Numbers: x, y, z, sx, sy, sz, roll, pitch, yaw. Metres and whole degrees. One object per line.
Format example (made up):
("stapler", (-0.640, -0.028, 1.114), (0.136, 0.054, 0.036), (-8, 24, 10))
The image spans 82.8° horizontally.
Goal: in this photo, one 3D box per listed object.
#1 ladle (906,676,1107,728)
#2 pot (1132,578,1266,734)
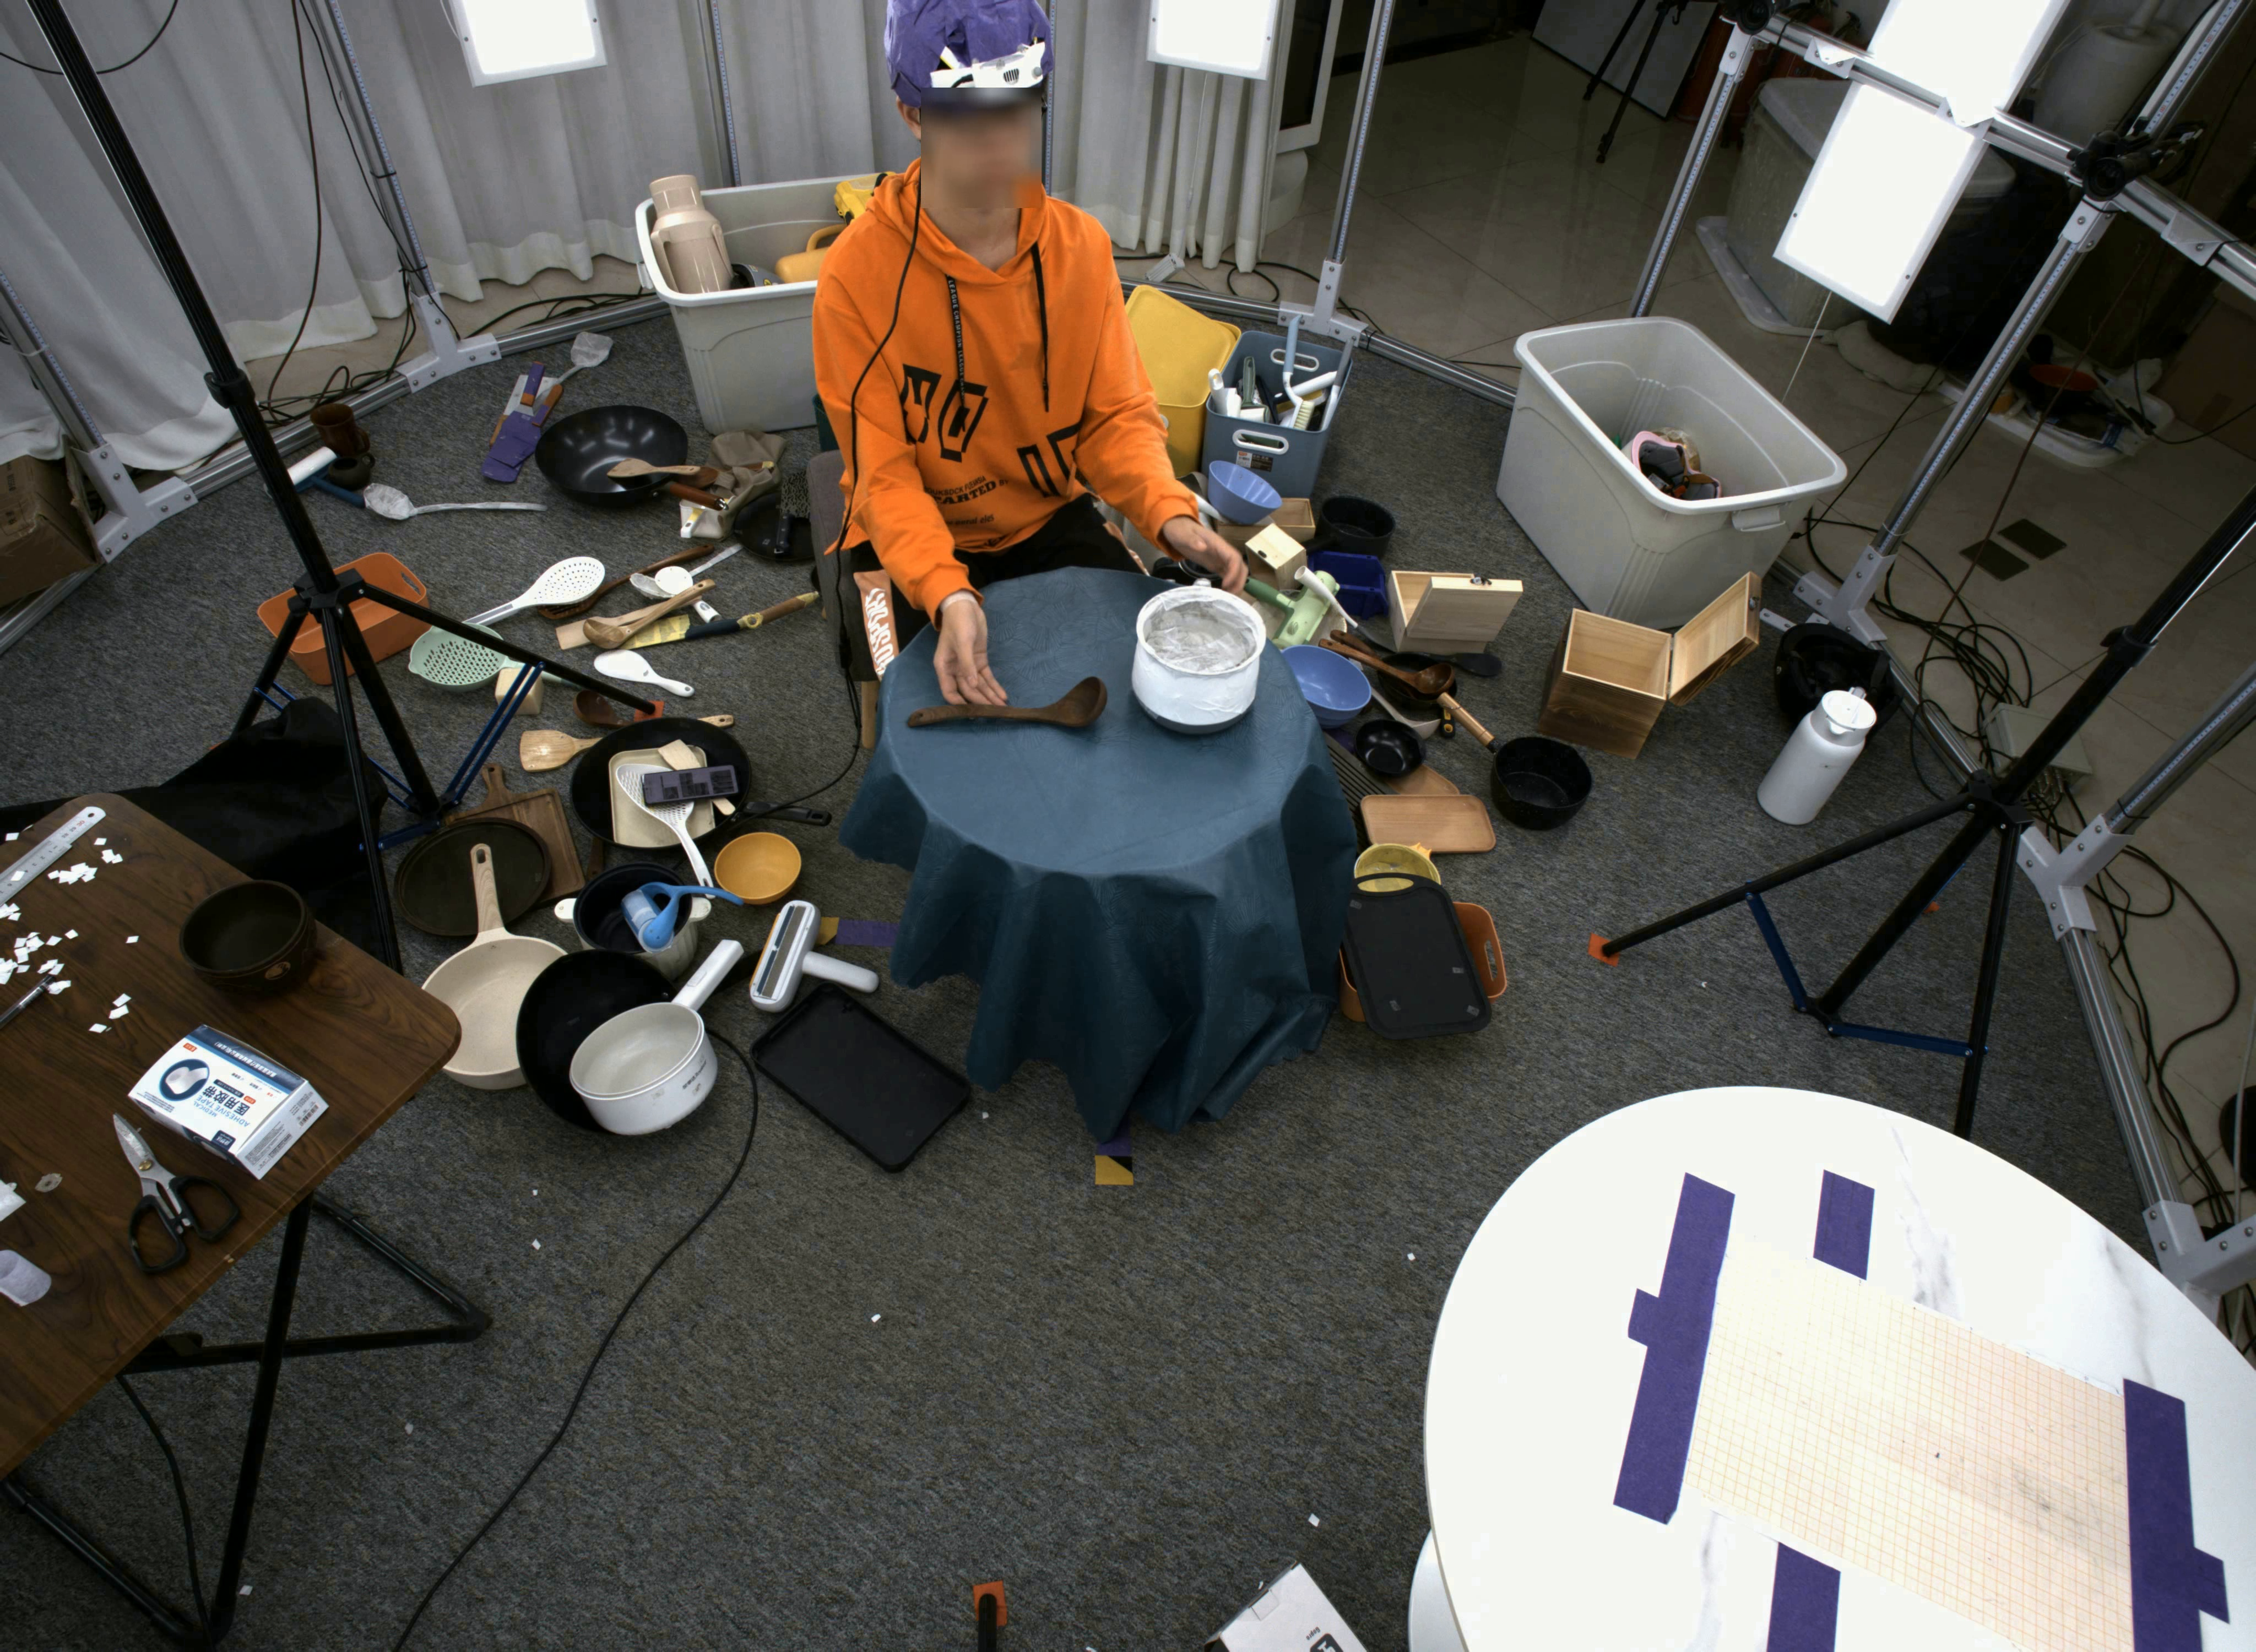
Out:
("ladle", (-0.166, -0.169, 1.759), (0.274, 0.069, 0.078), (-1, 47, -6))
("pot", (0.096, -0.248, 1.802), (0.178, 0.133, 0.239), (4, 49, -1))
